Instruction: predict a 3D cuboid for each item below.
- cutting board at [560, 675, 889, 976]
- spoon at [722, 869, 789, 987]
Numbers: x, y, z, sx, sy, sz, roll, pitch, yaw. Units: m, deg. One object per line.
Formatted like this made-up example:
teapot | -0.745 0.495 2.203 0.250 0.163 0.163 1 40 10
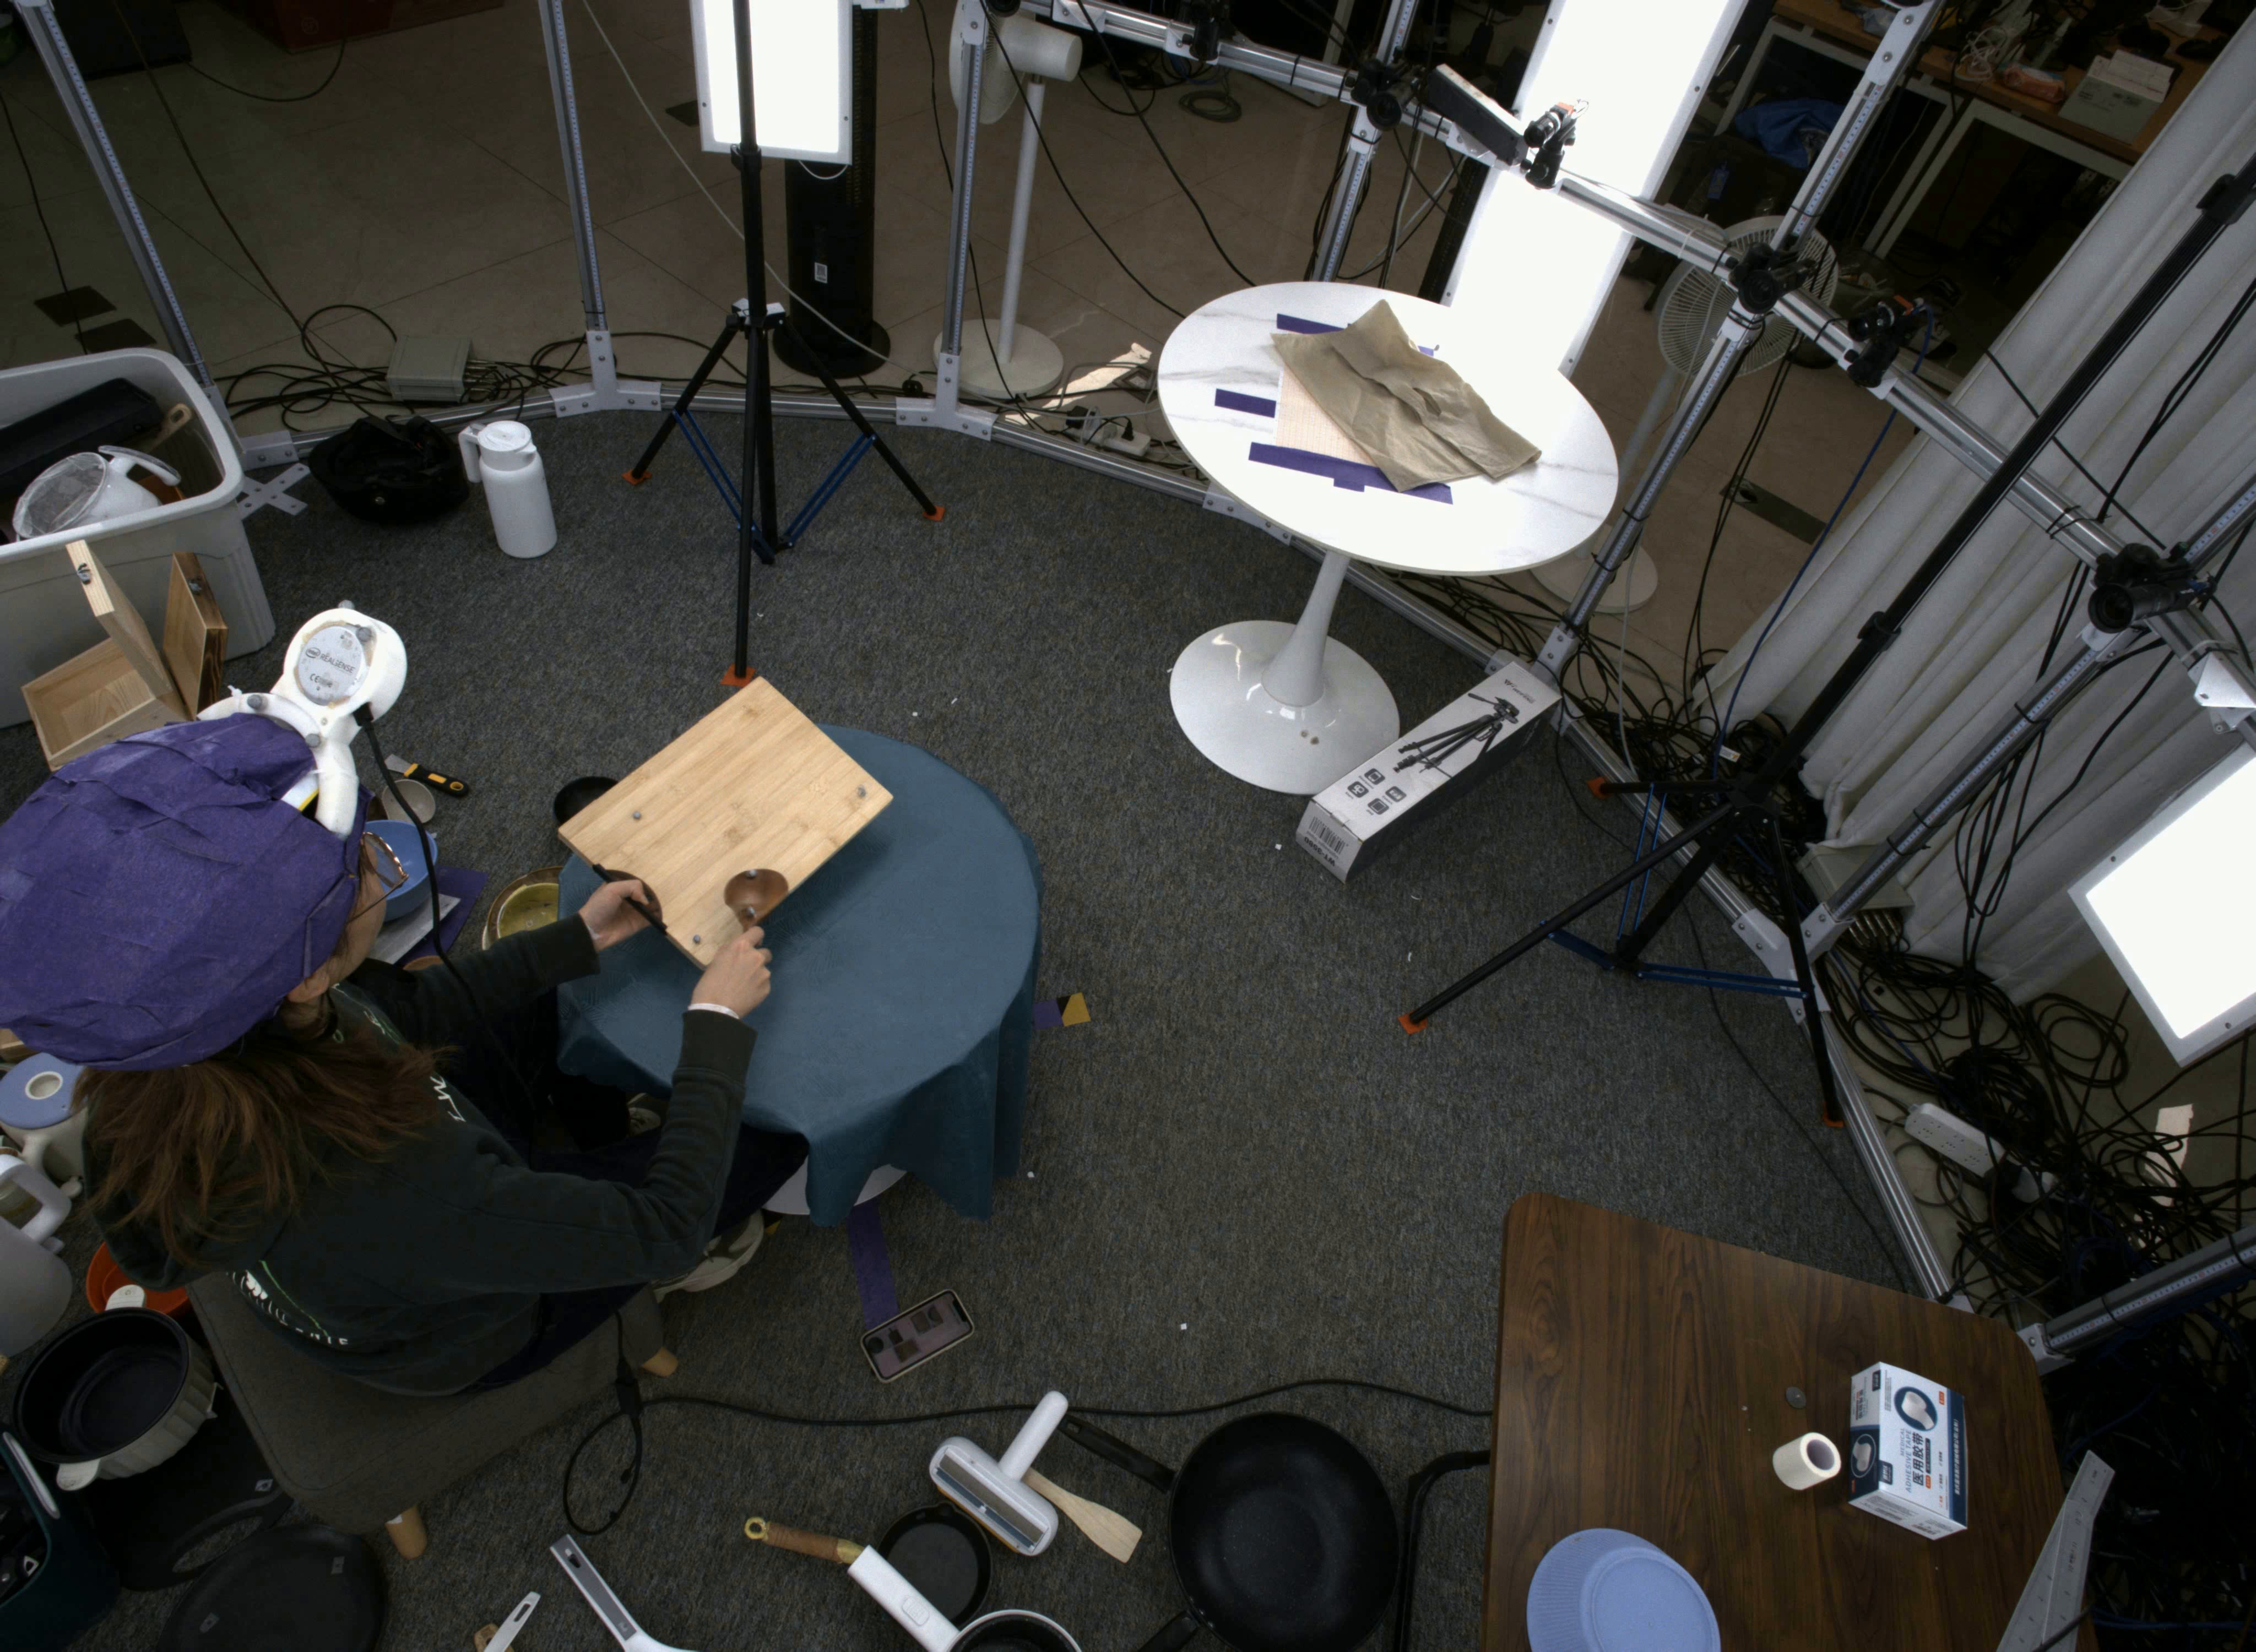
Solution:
cutting board | -0.495 -0.011 1.600 0.251 0.023 0.348 42 54 -1
spoon | -0.424 0.109 1.449 0.075 0.018 0.210 3 30 -10
